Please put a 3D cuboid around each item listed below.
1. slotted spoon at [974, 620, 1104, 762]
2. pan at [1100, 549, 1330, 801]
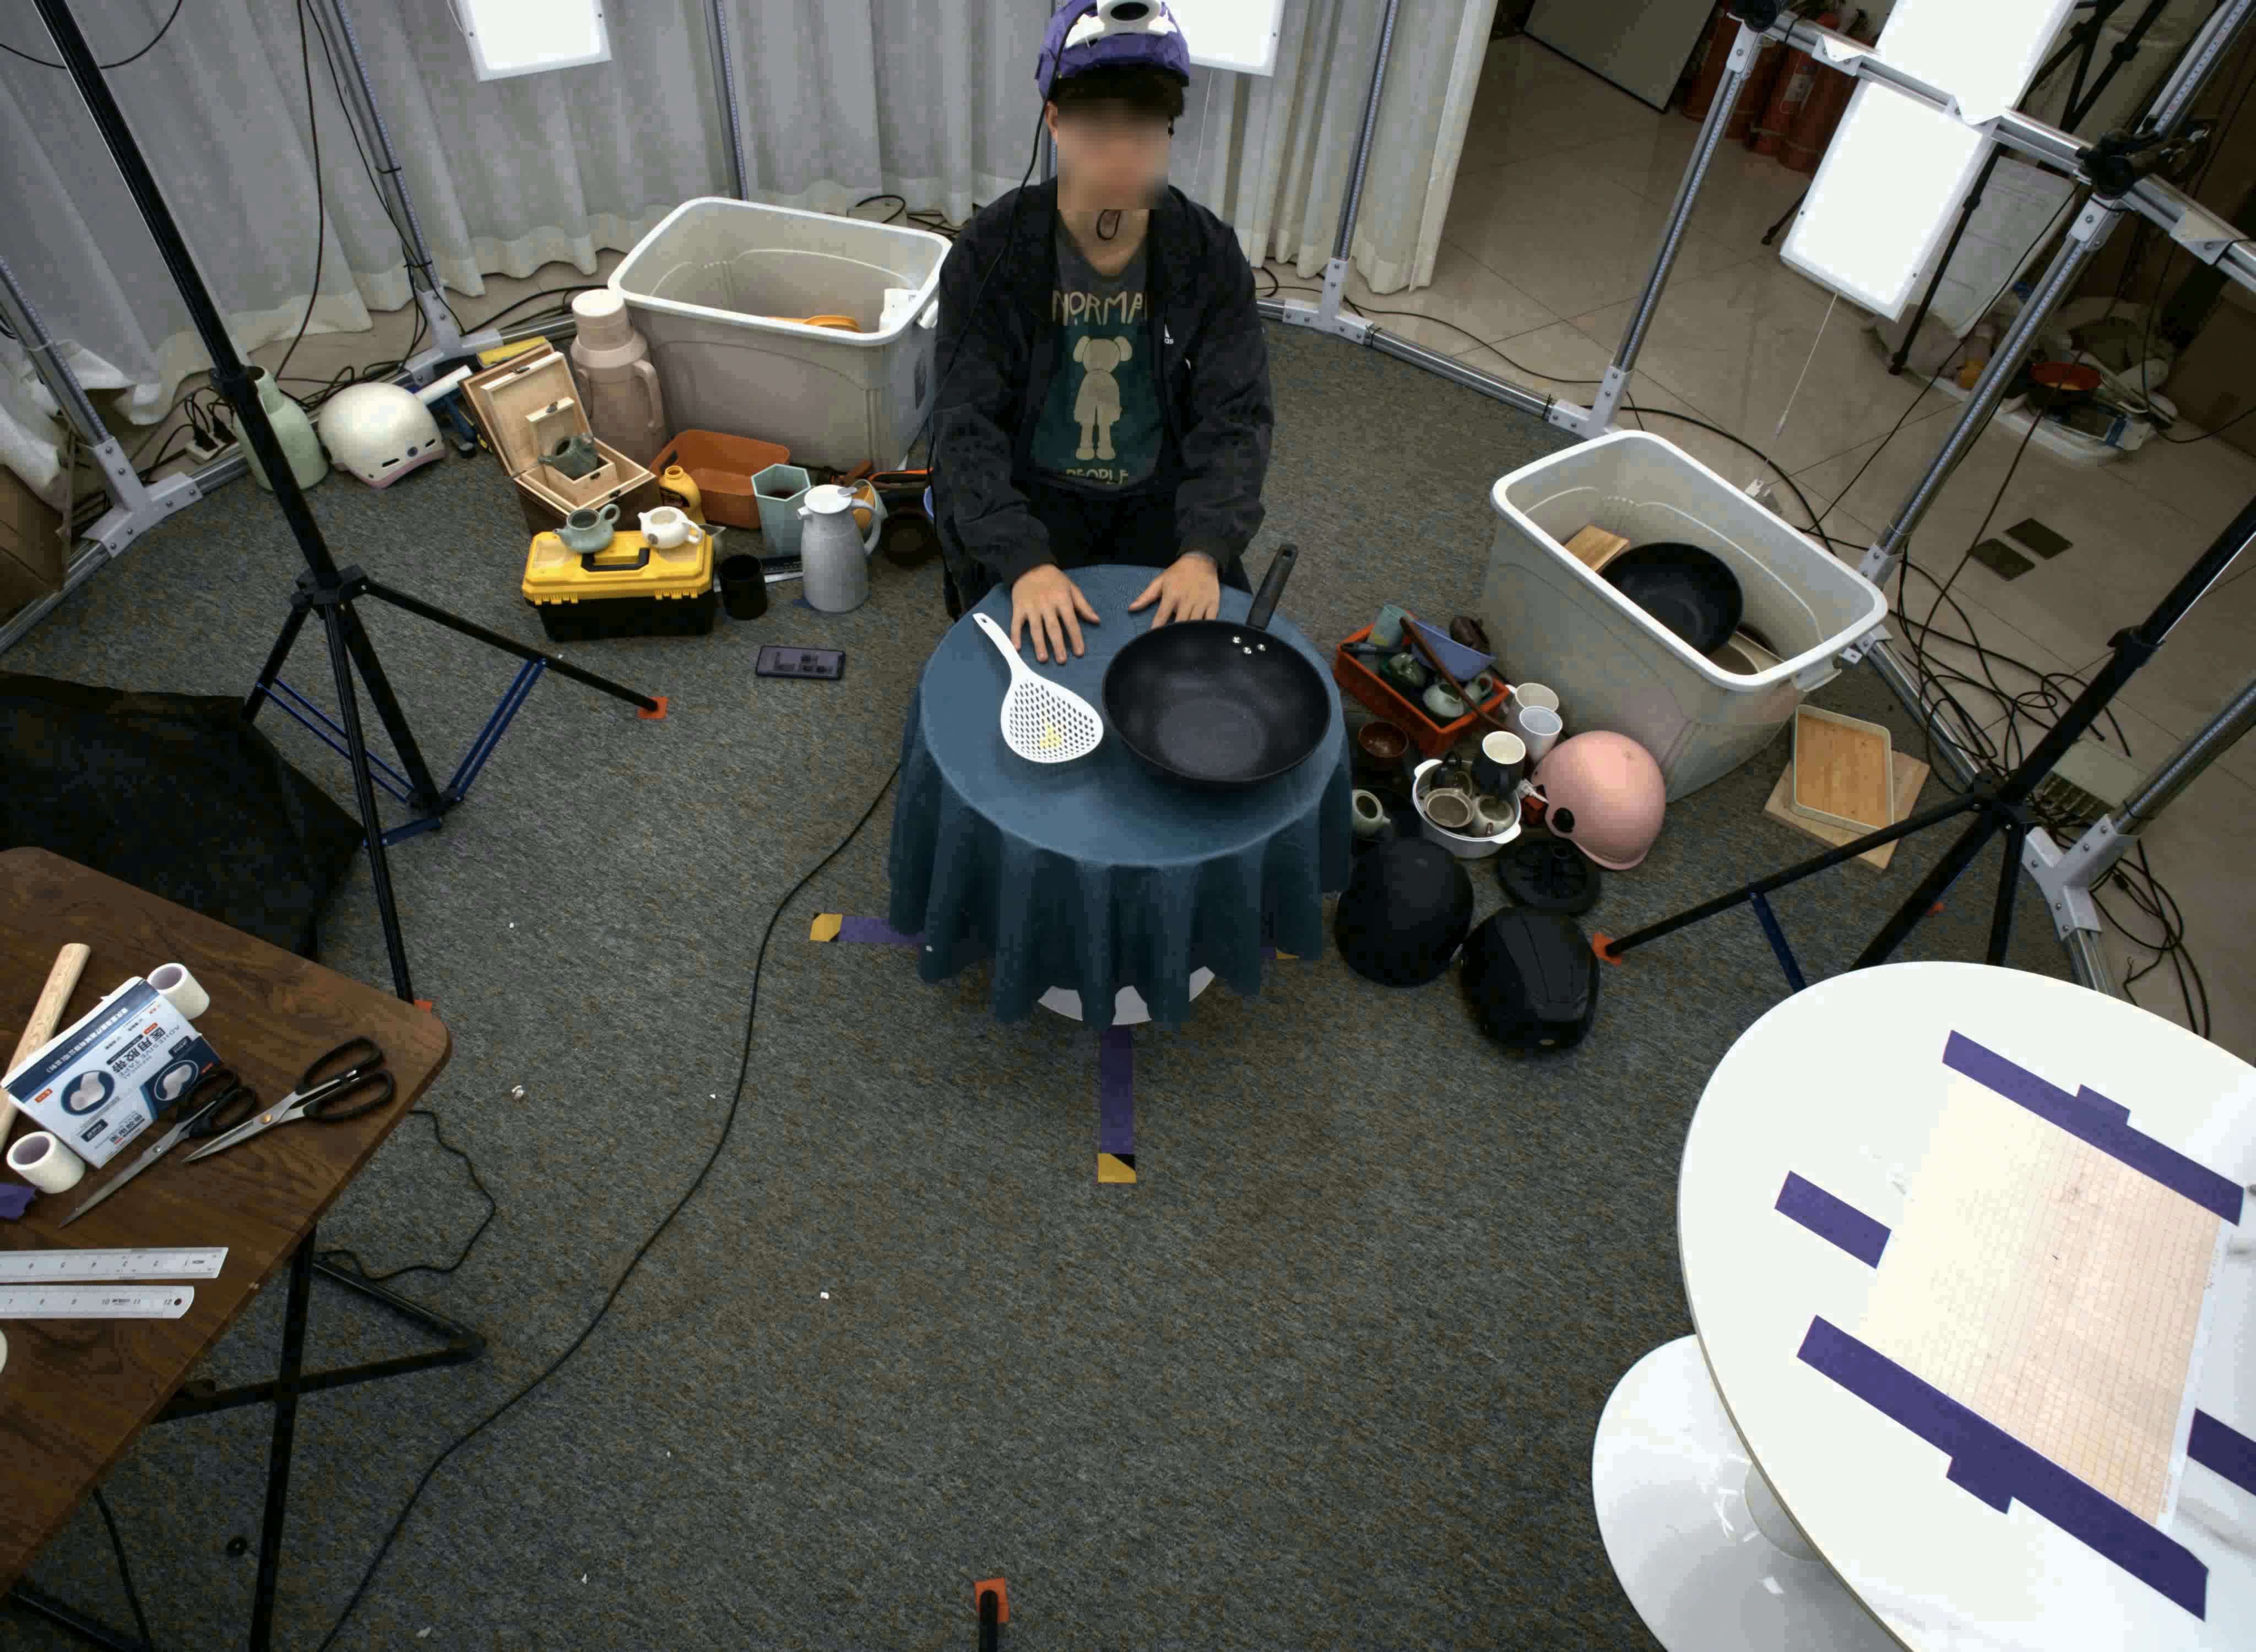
[{"bbox_3d":[-0.146,-0.201,1.807,0.137,0.049,0.356,-18,52,-16],"label":"slotted spoon"},{"bbox_3d":[0.147,-0.207,1.788,0.311,0.109,0.486,19,51,11],"label":"pan"}]
